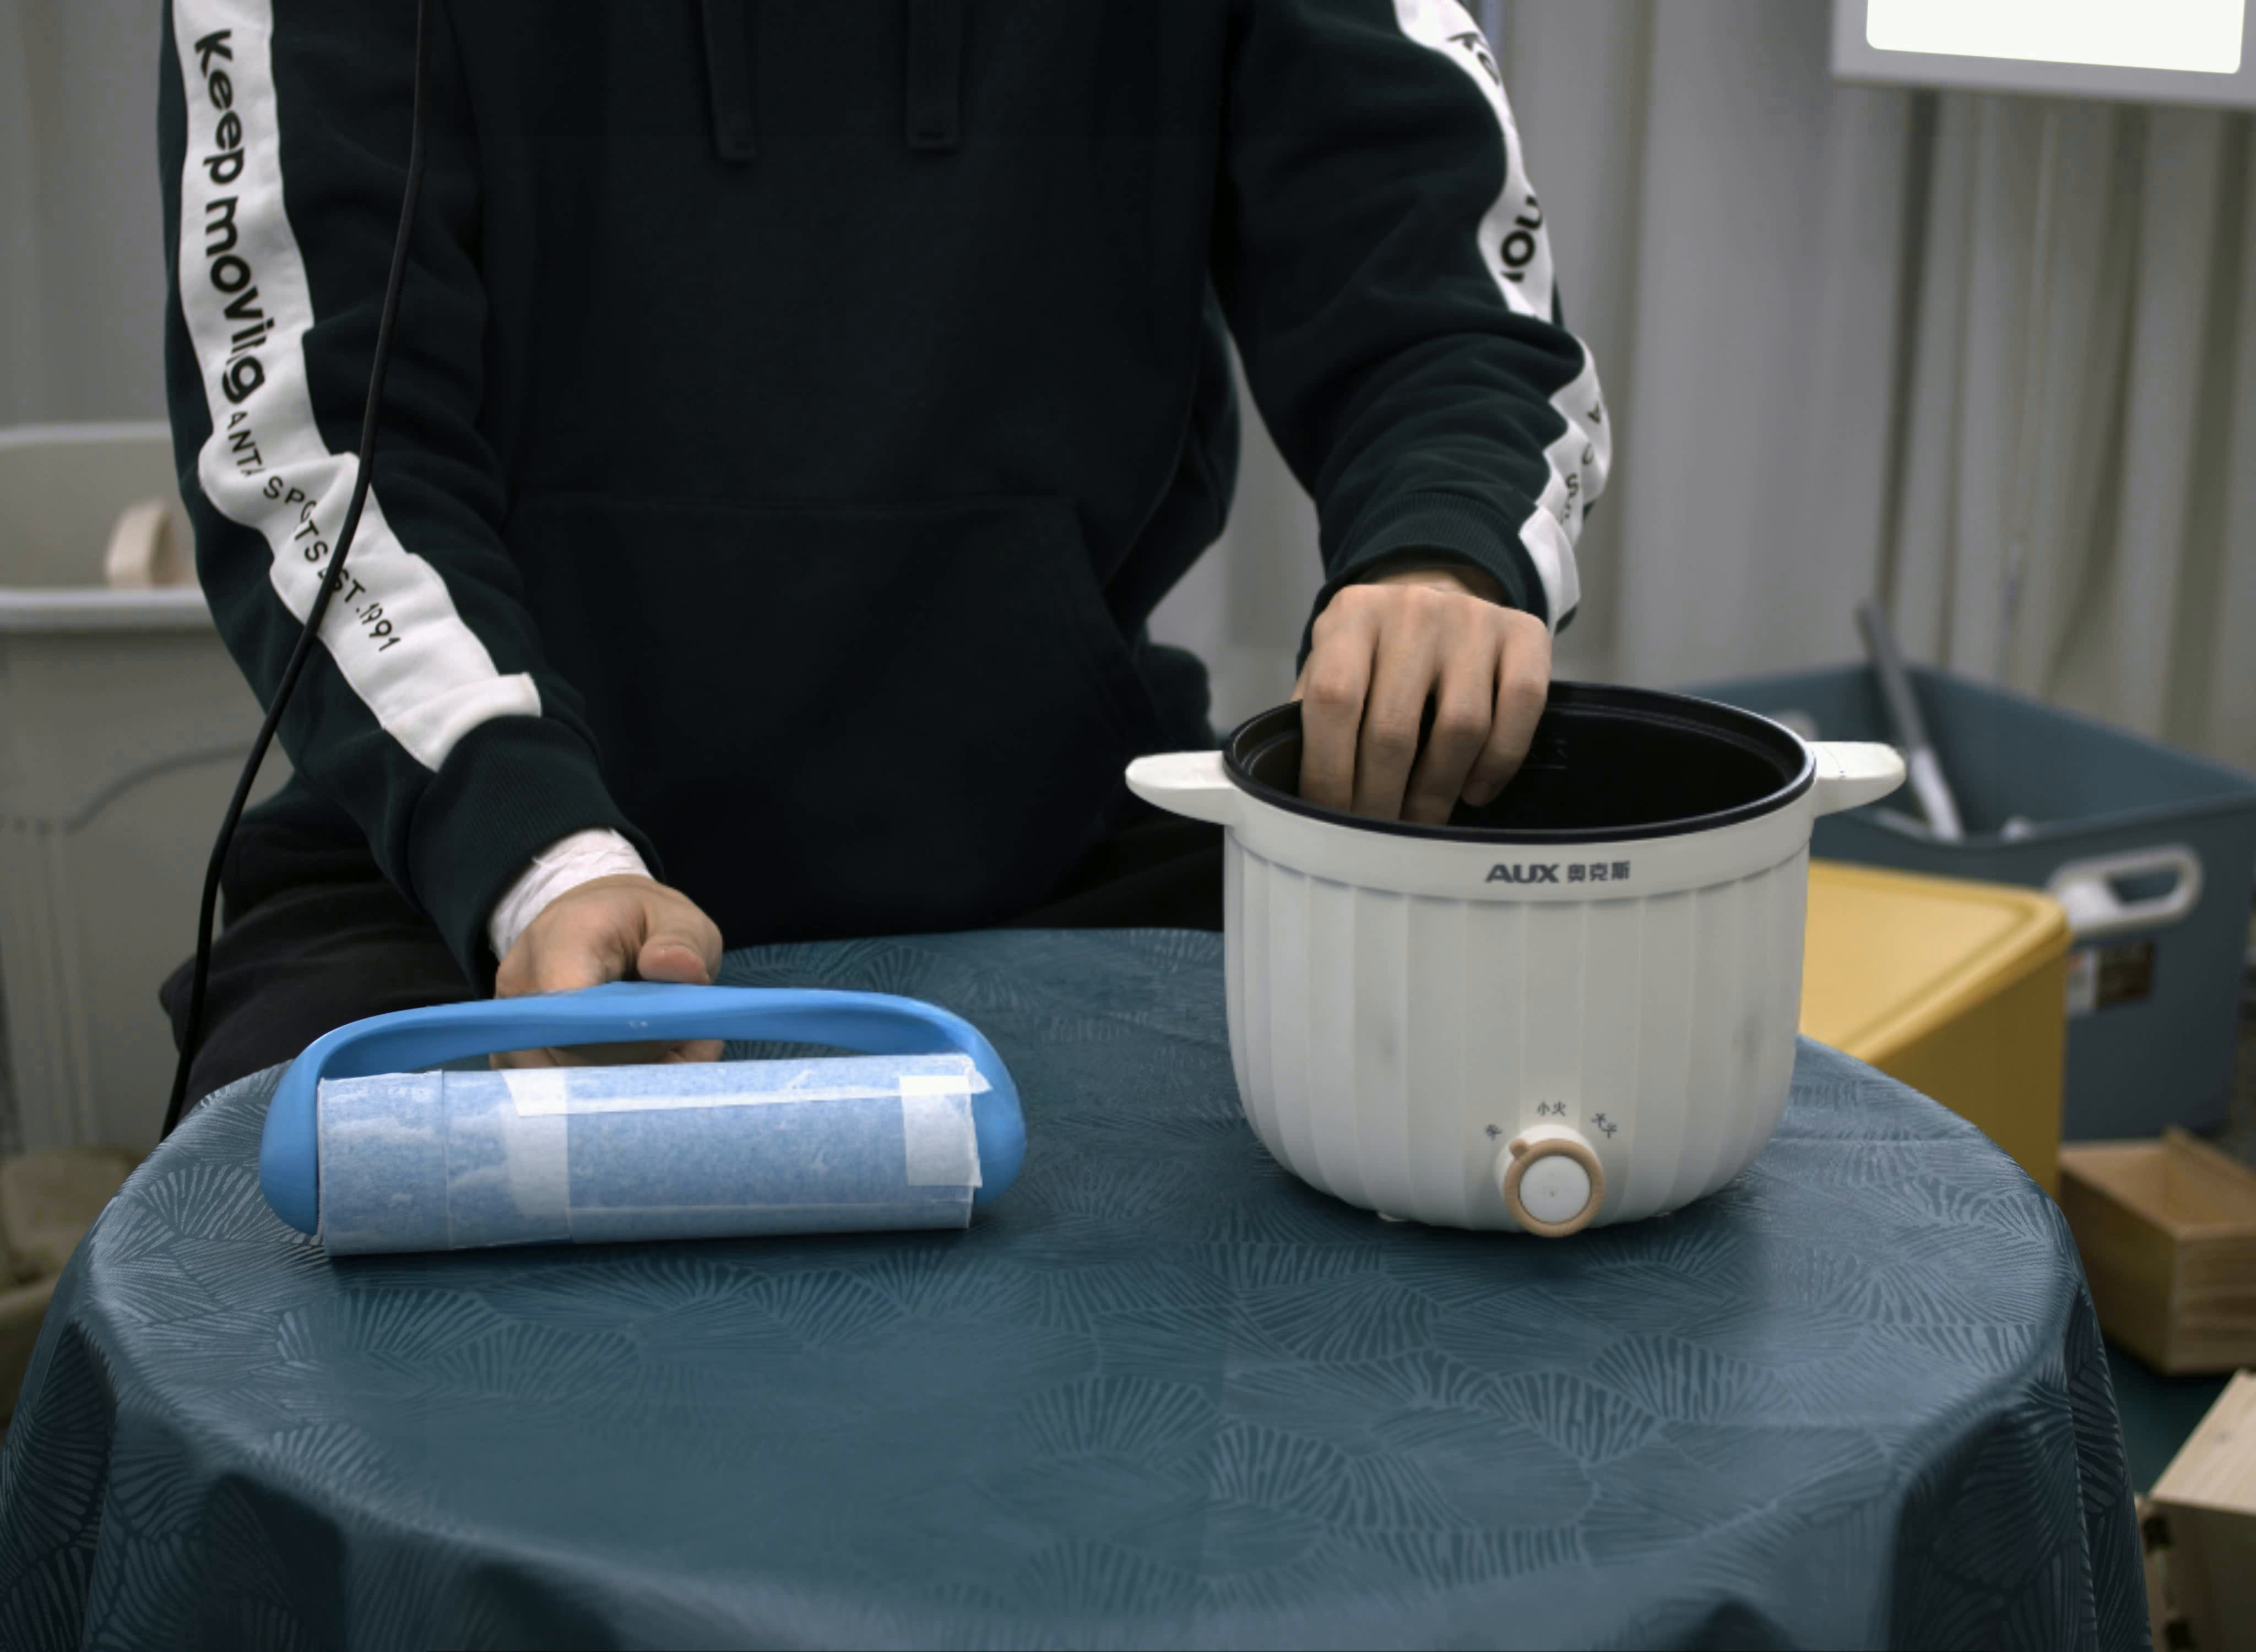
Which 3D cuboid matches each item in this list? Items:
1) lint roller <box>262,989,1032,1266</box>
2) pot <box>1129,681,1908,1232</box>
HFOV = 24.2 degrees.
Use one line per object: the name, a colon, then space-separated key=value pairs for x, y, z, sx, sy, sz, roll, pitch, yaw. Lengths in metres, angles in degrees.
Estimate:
lint roller: x=-0.153 y=0.081 z=1.622 sx=0.229 sy=0.068 sz=0.178 roll=-4 pitch=18 yaw=-10
pot: x=0.121 y=0.042 z=1.615 sx=0.240 sy=0.144 sz=0.189 roll=-2 pitch=13 yaw=-5
